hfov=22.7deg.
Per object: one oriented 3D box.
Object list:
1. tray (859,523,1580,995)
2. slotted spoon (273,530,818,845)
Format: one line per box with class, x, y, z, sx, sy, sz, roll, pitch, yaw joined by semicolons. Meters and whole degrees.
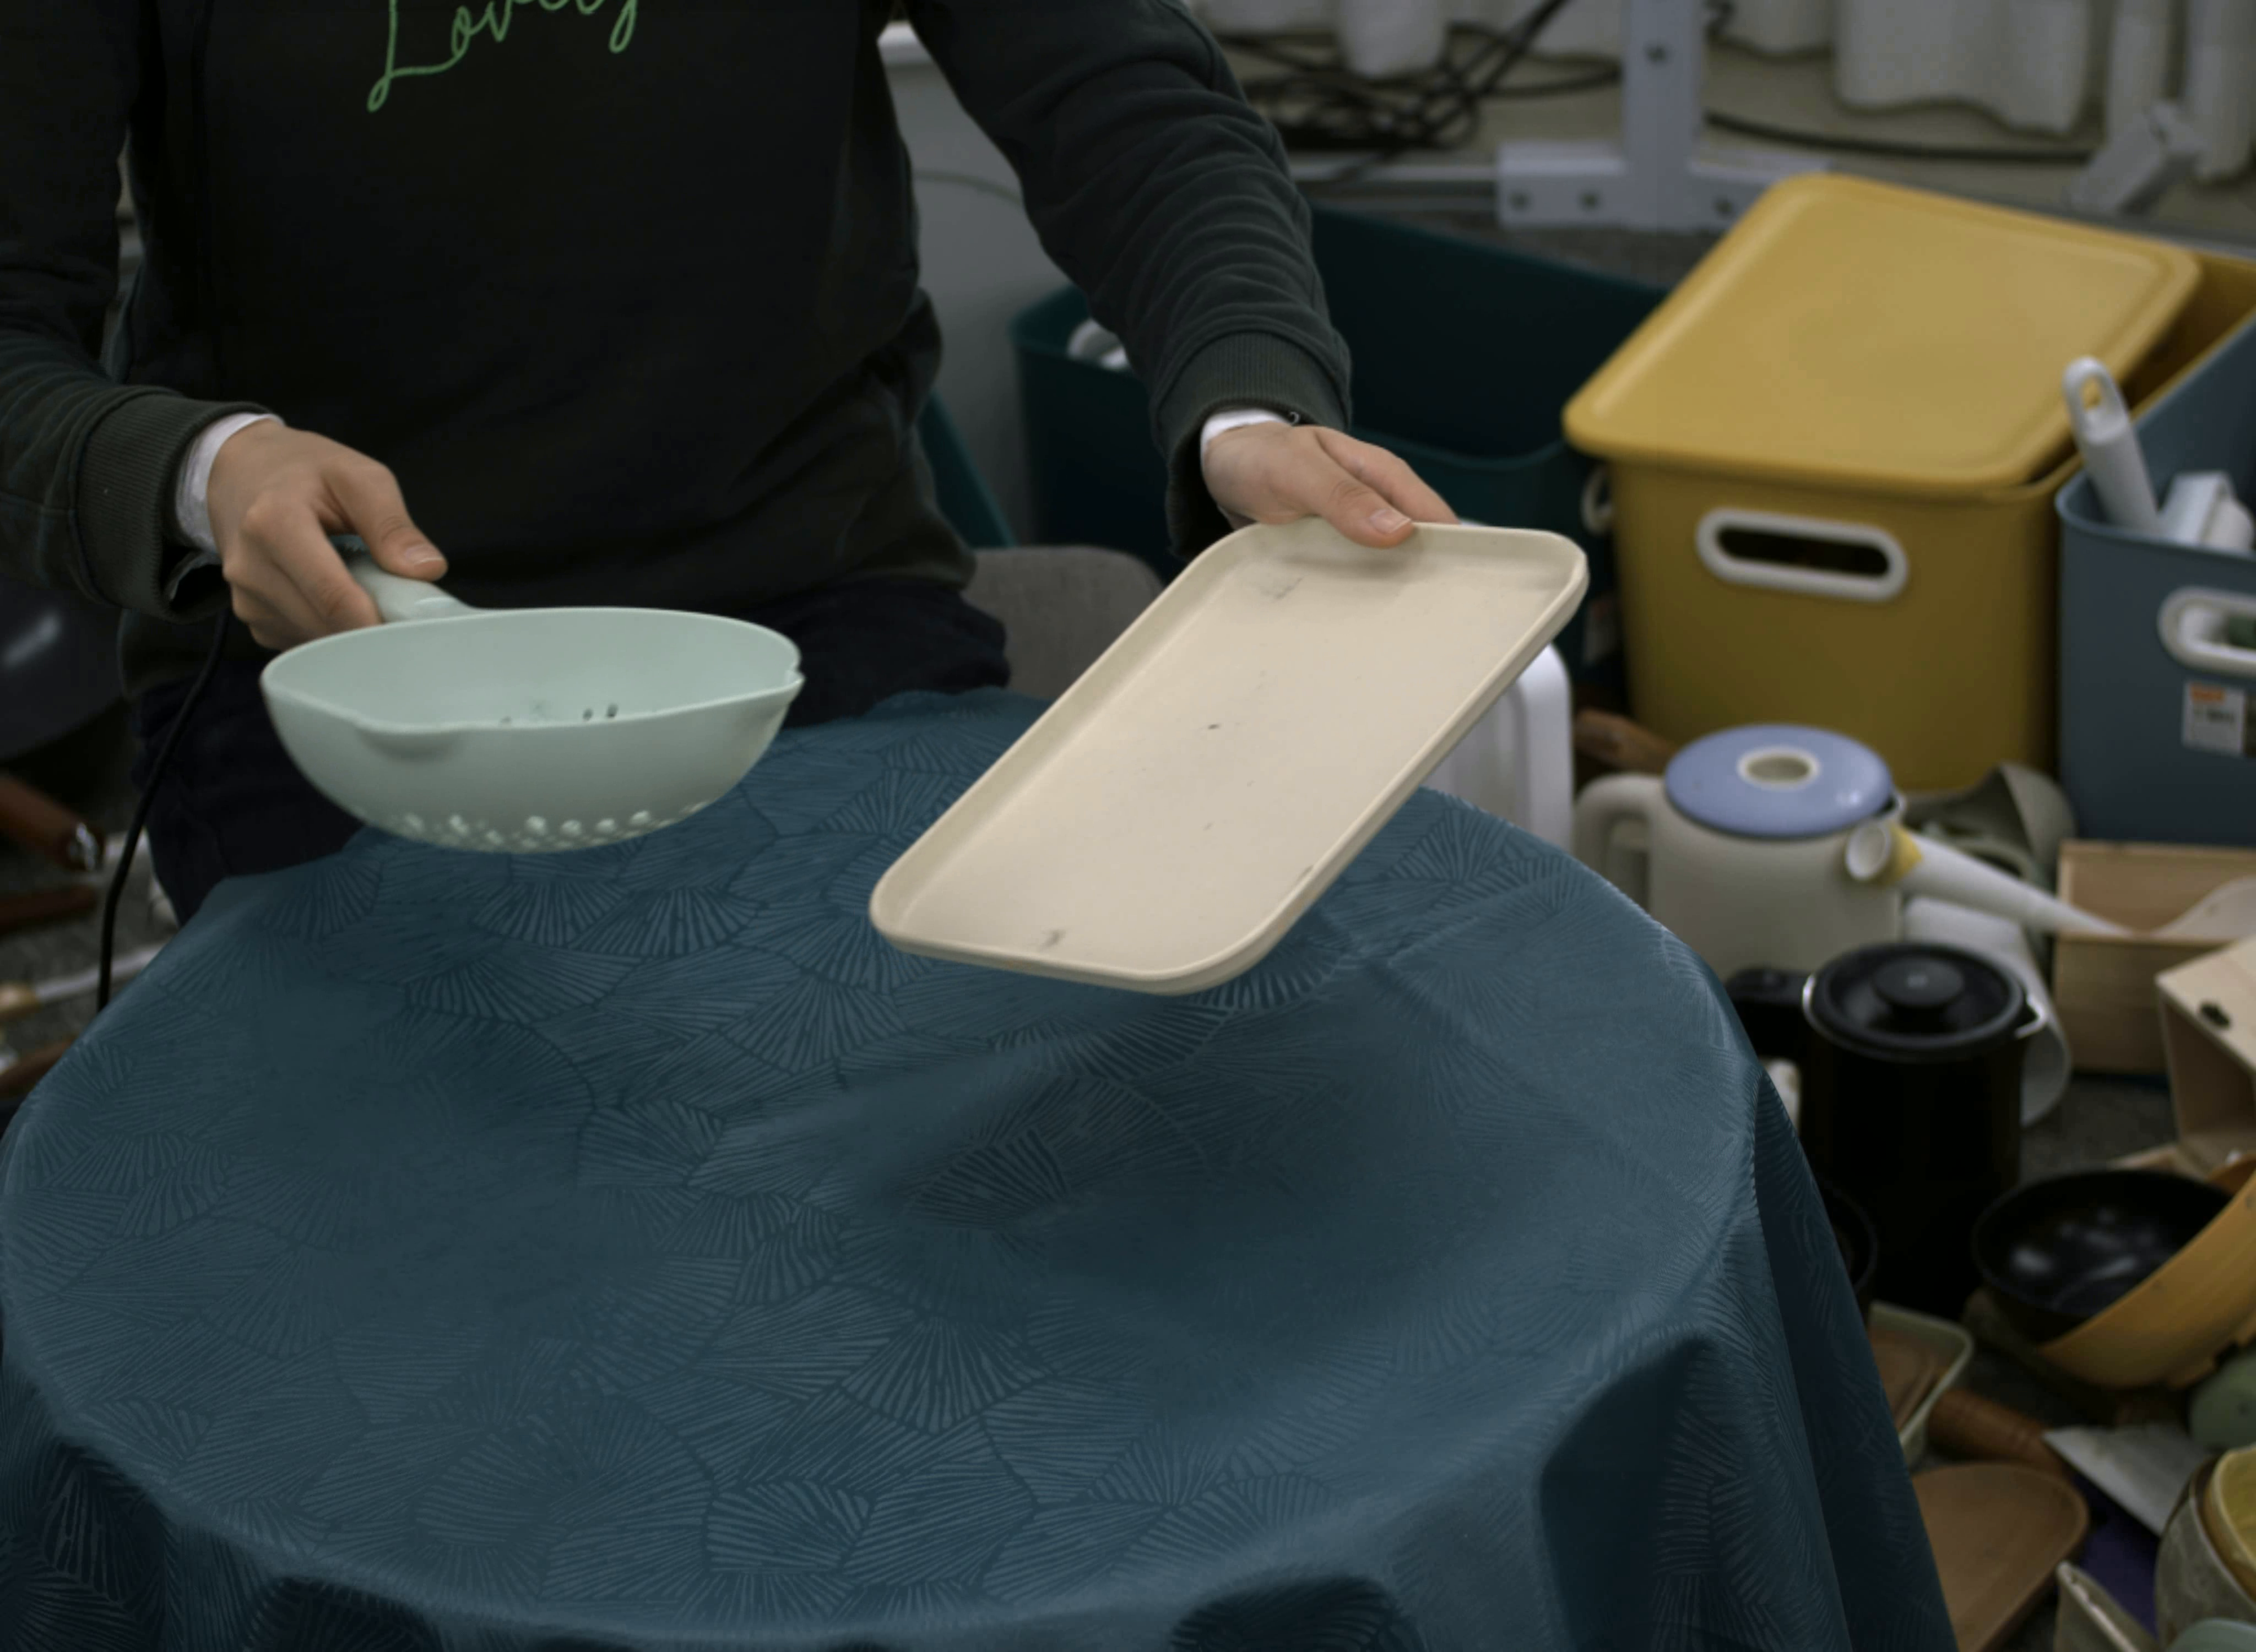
tray;0.033;-0.024;1.859;0.170;0.017;0.243;6;41;43
slotted spoon;-0.222;-0.061;1.863;0.170;0.075;0.360;-5;21;-23
